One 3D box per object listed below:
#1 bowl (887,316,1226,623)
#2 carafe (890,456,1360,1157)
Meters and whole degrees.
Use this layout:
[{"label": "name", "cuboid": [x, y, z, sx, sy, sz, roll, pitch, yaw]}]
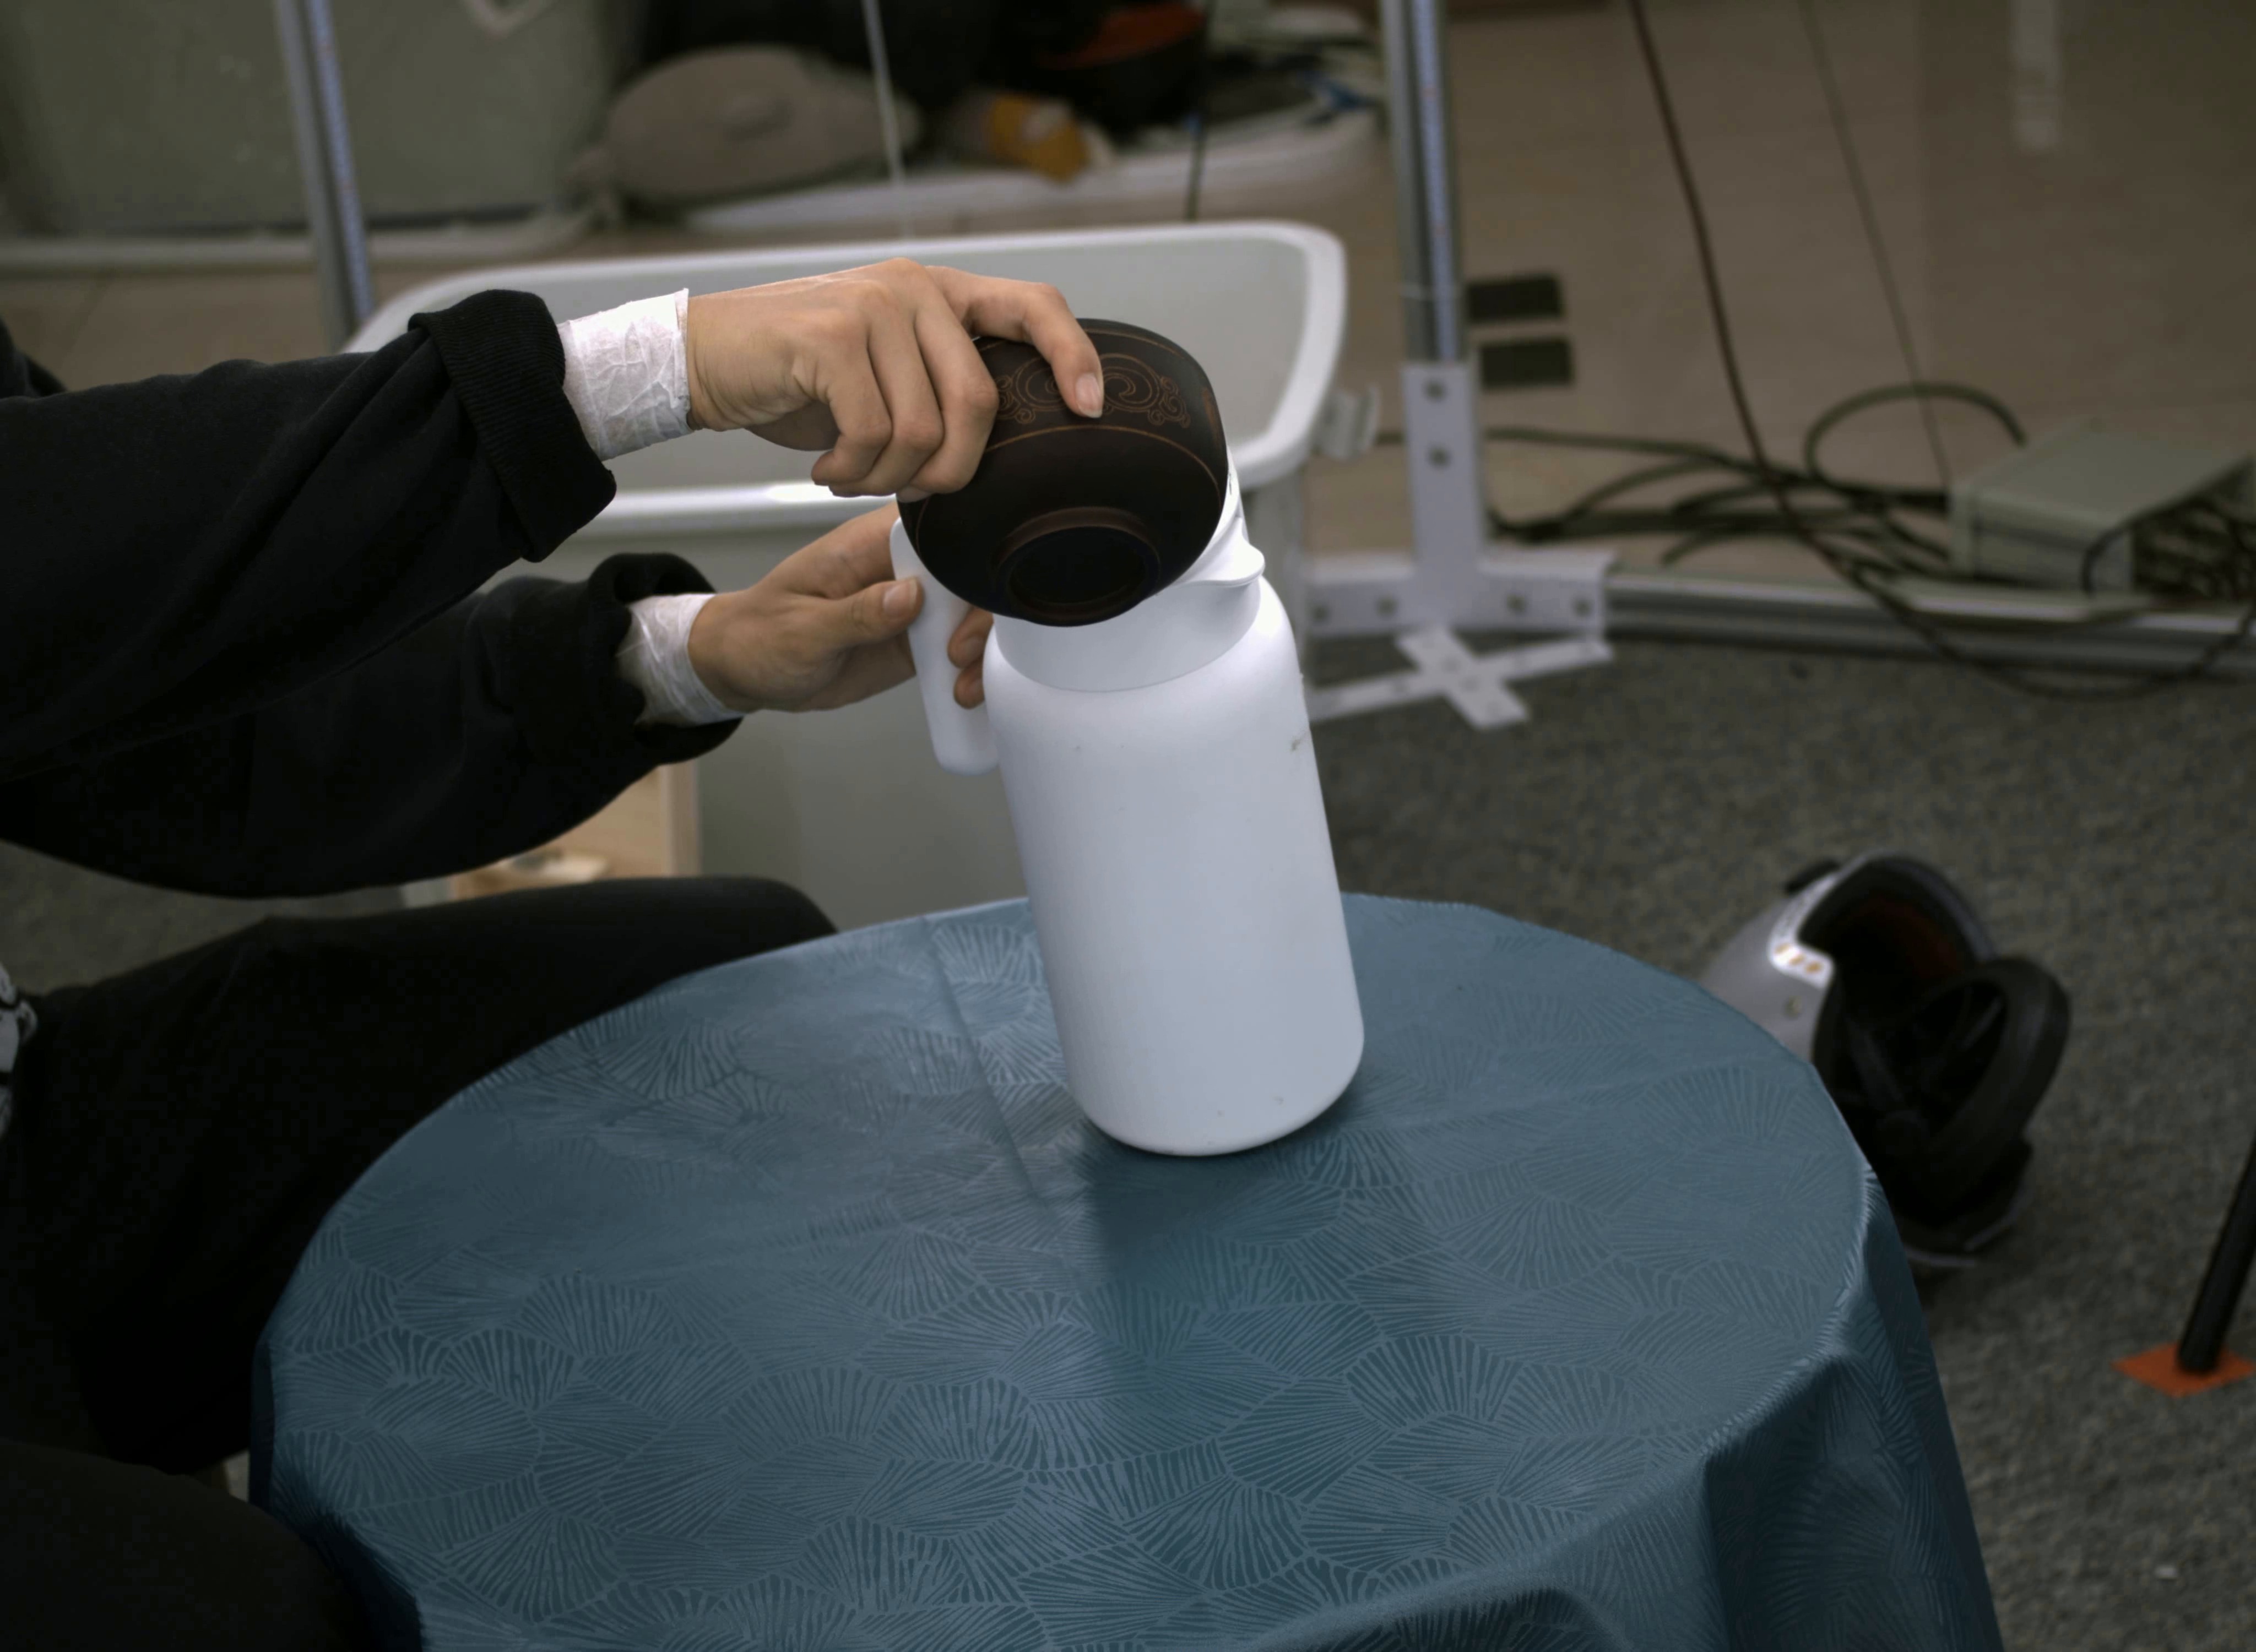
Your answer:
[{"label": "bowl", "cuboid": [-0.023, -0.114, 1.951, 0.118, 0.120, 0.069, -6, 57, 0]}, {"label": "carafe", "cuboid": [-0.001, -0.014, 2.139, 0.171, 0.274, 0.122, 17, 47, 33]}]
